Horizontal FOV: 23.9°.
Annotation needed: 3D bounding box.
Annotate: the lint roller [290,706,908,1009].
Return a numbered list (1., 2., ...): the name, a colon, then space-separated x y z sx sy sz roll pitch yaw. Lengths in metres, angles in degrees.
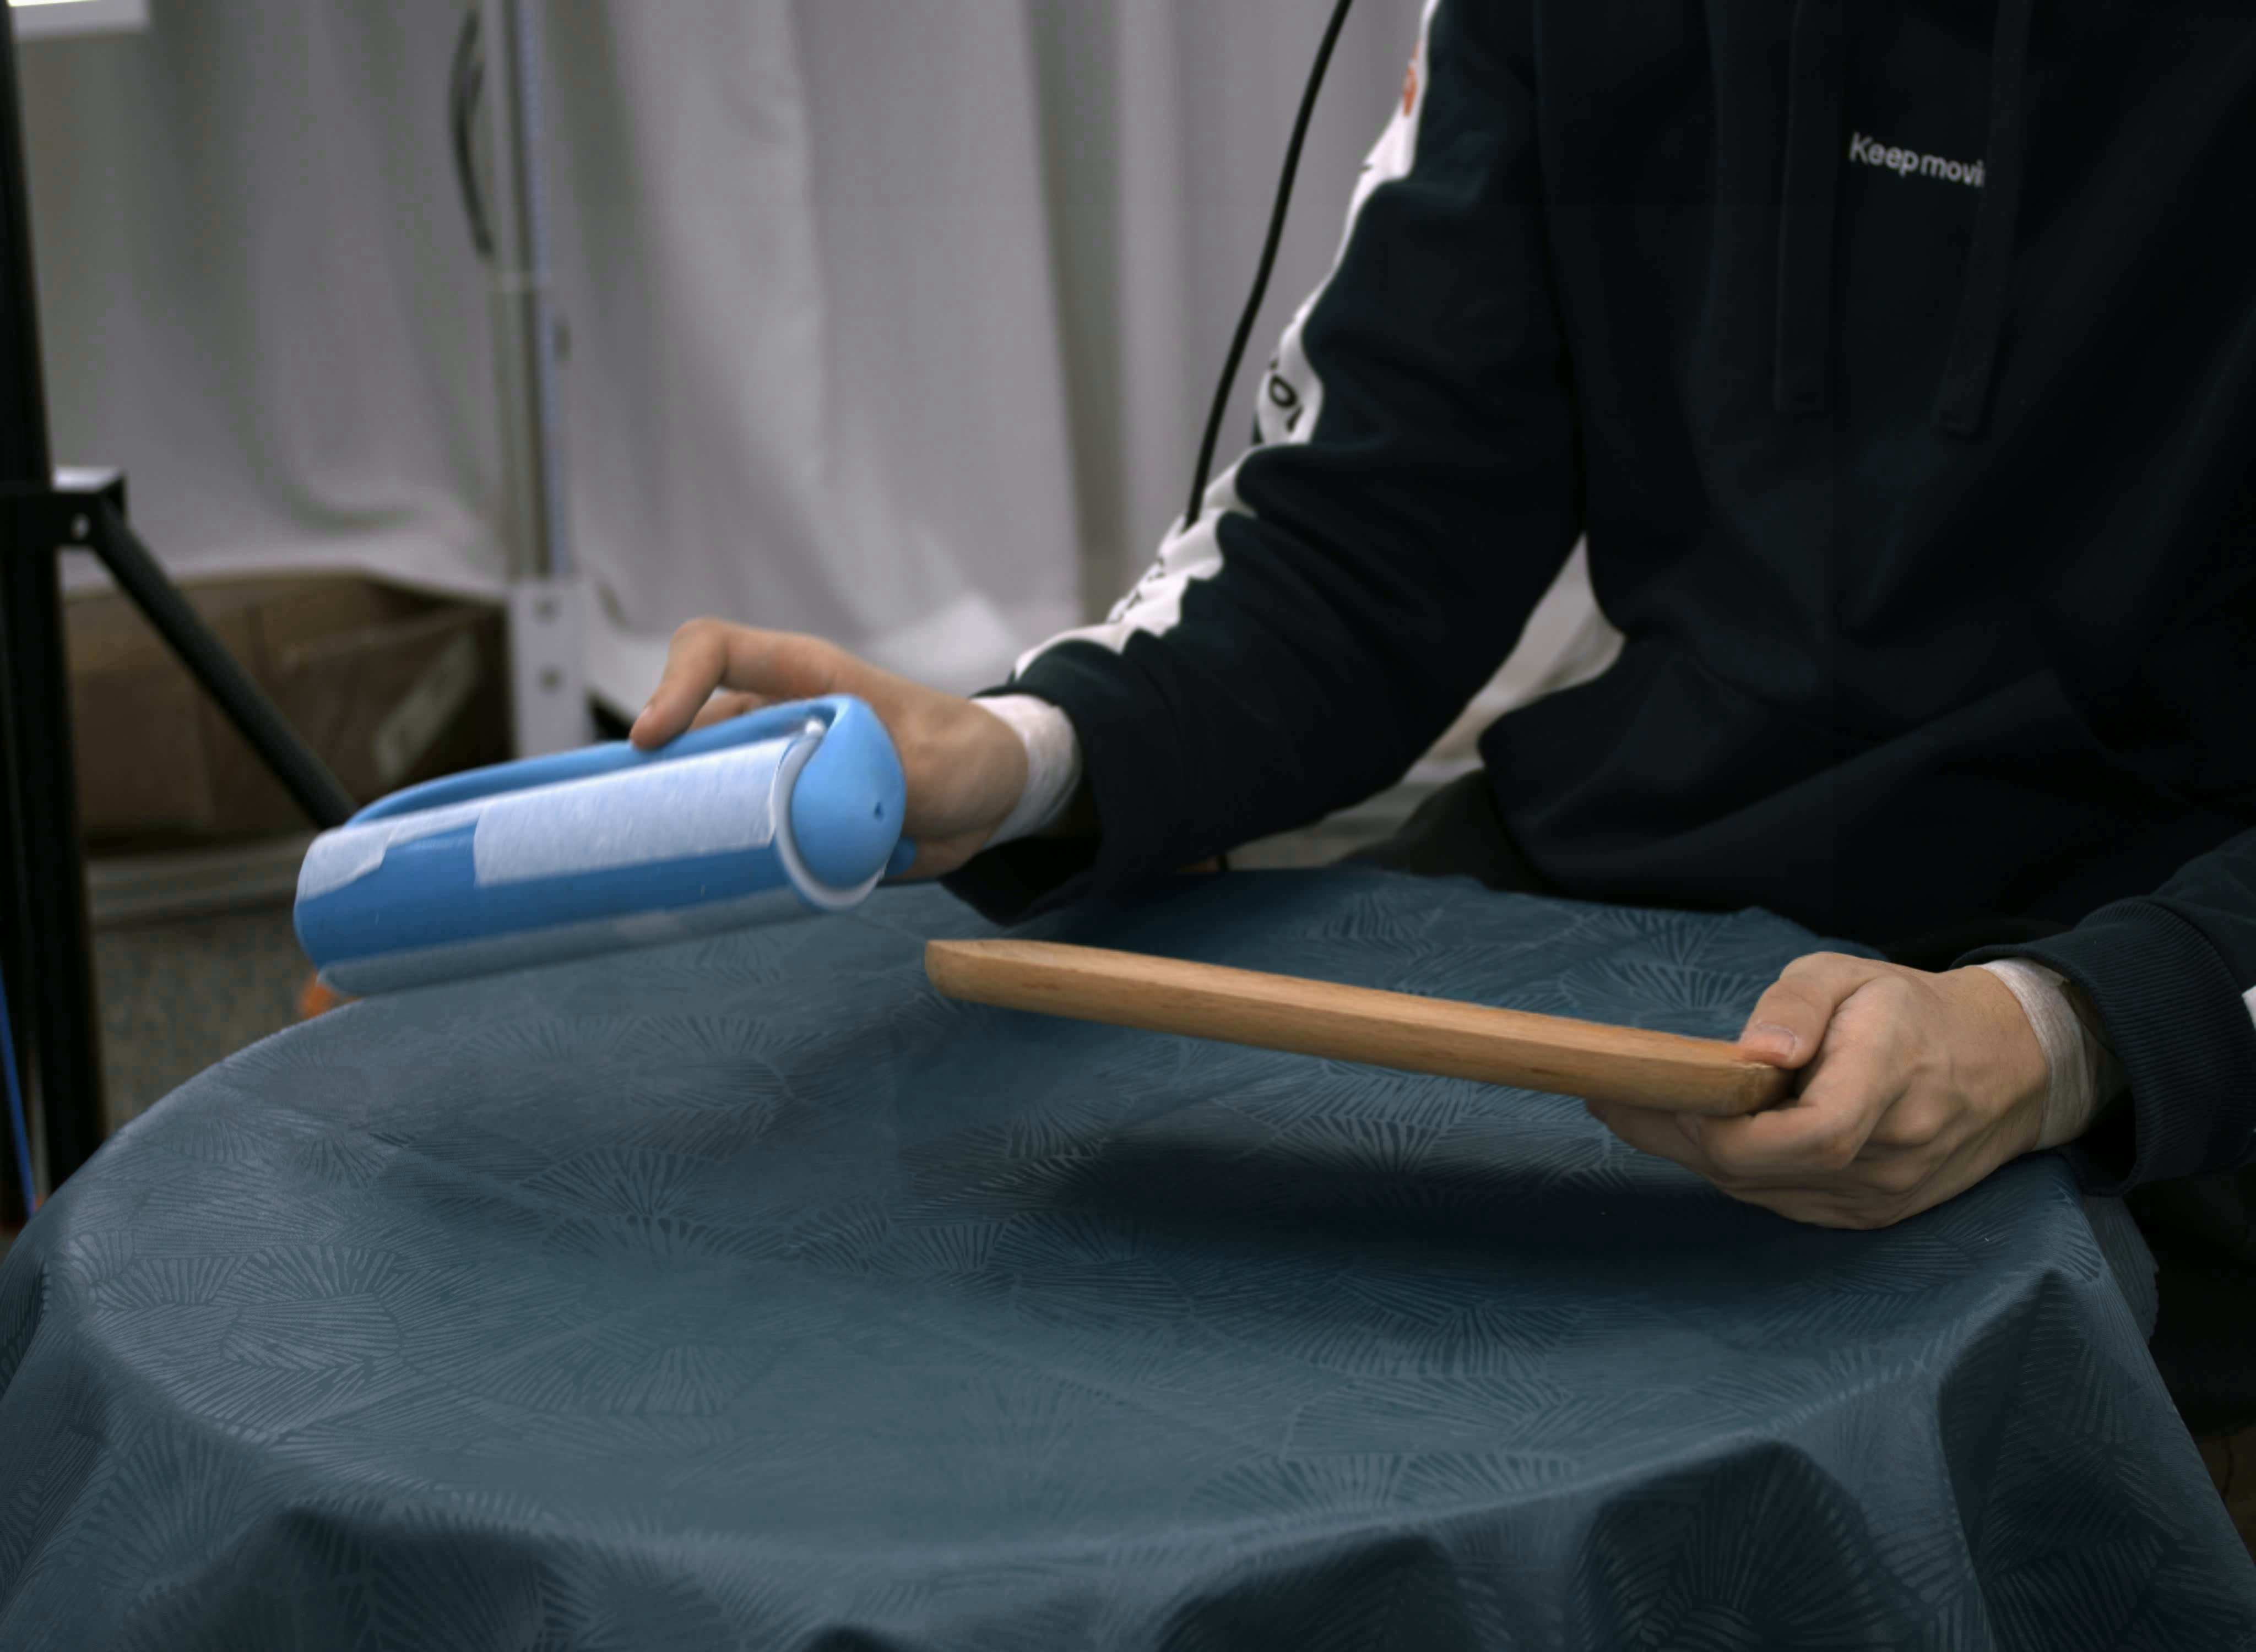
1. lint roller: -0.133 0.005 1.649 0.233 0.068 0.176 -13 3 34

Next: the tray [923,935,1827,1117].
1. tray: 0.070 0.057 1.523 0.254 0.023 0.128 8 -1 24
